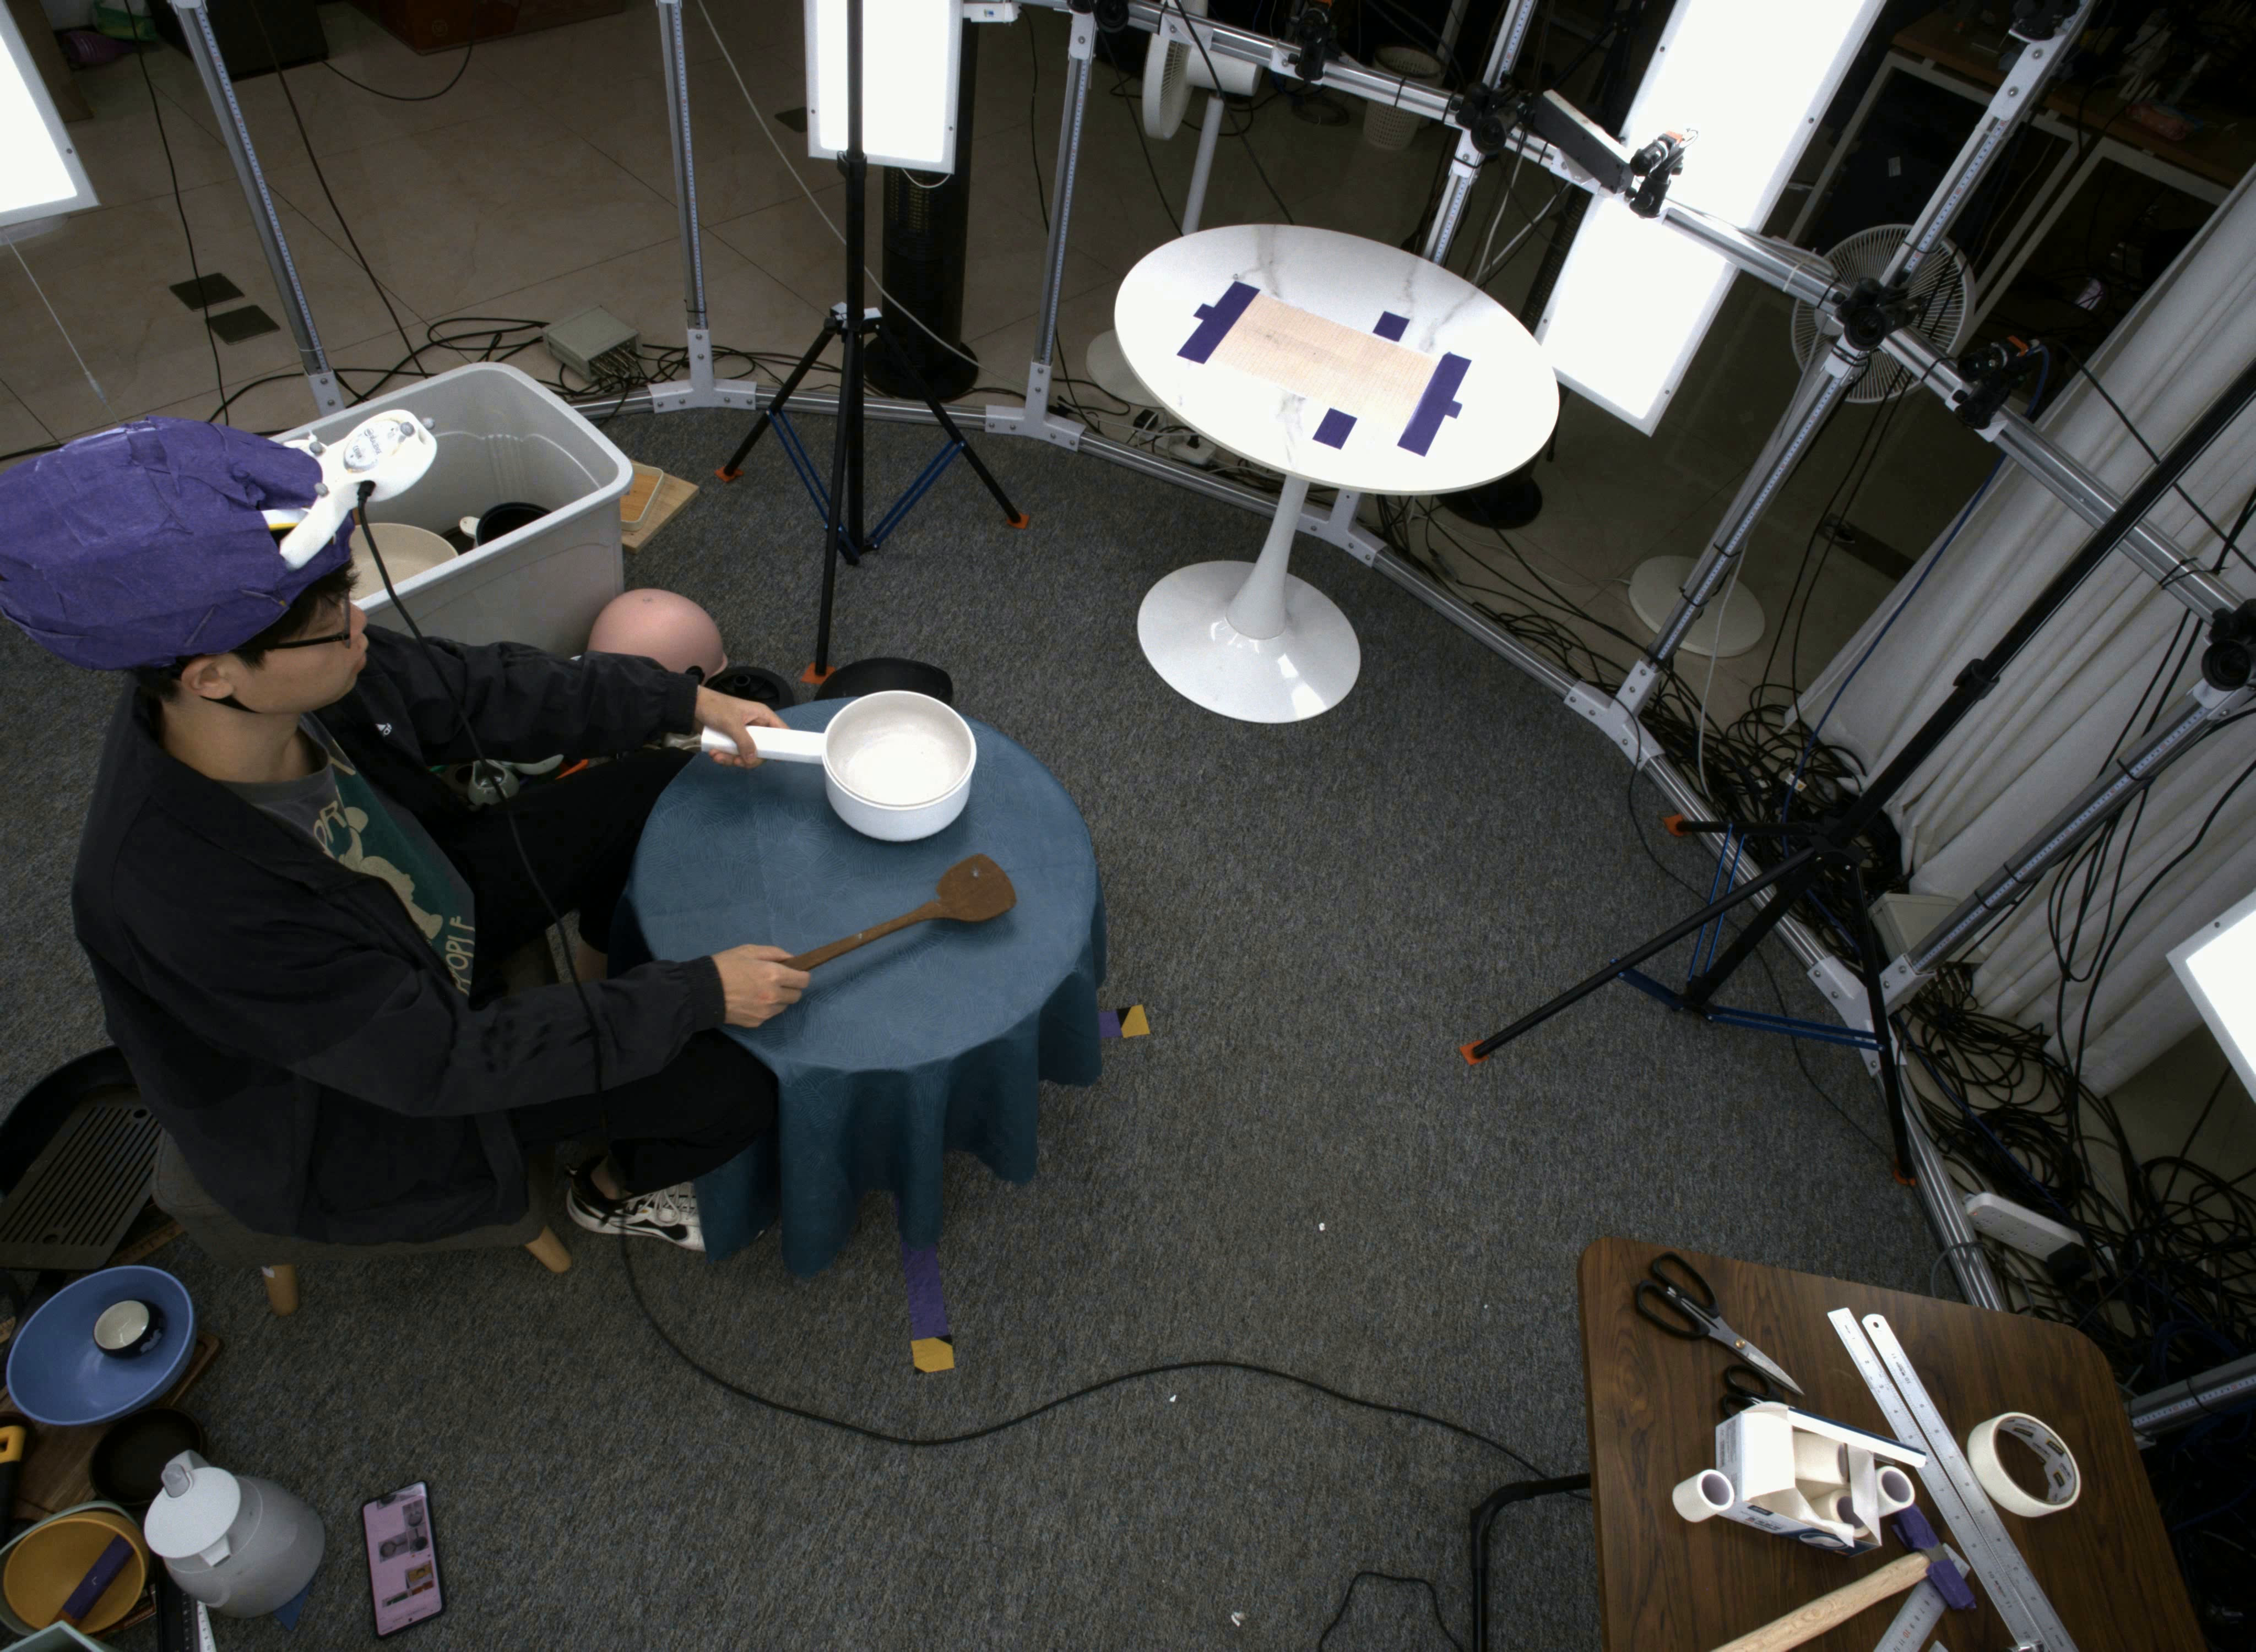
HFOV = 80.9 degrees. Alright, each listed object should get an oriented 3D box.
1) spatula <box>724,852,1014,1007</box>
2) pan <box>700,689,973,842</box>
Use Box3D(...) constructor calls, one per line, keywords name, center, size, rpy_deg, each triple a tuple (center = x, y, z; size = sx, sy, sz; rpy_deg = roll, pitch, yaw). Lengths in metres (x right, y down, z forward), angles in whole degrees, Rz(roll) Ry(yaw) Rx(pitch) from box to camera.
Box3D(name="spatula", center=(-0.315, 0.132, 1.596), size=(0.388, 0.016, 0.094), rpy_deg=(-24, 65, -30))
Box3D(name="pan", center=(-0.385, -0.082, 1.733), size=(0.354, 0.104, 0.198), rpy_deg=(4, 55, -8))
